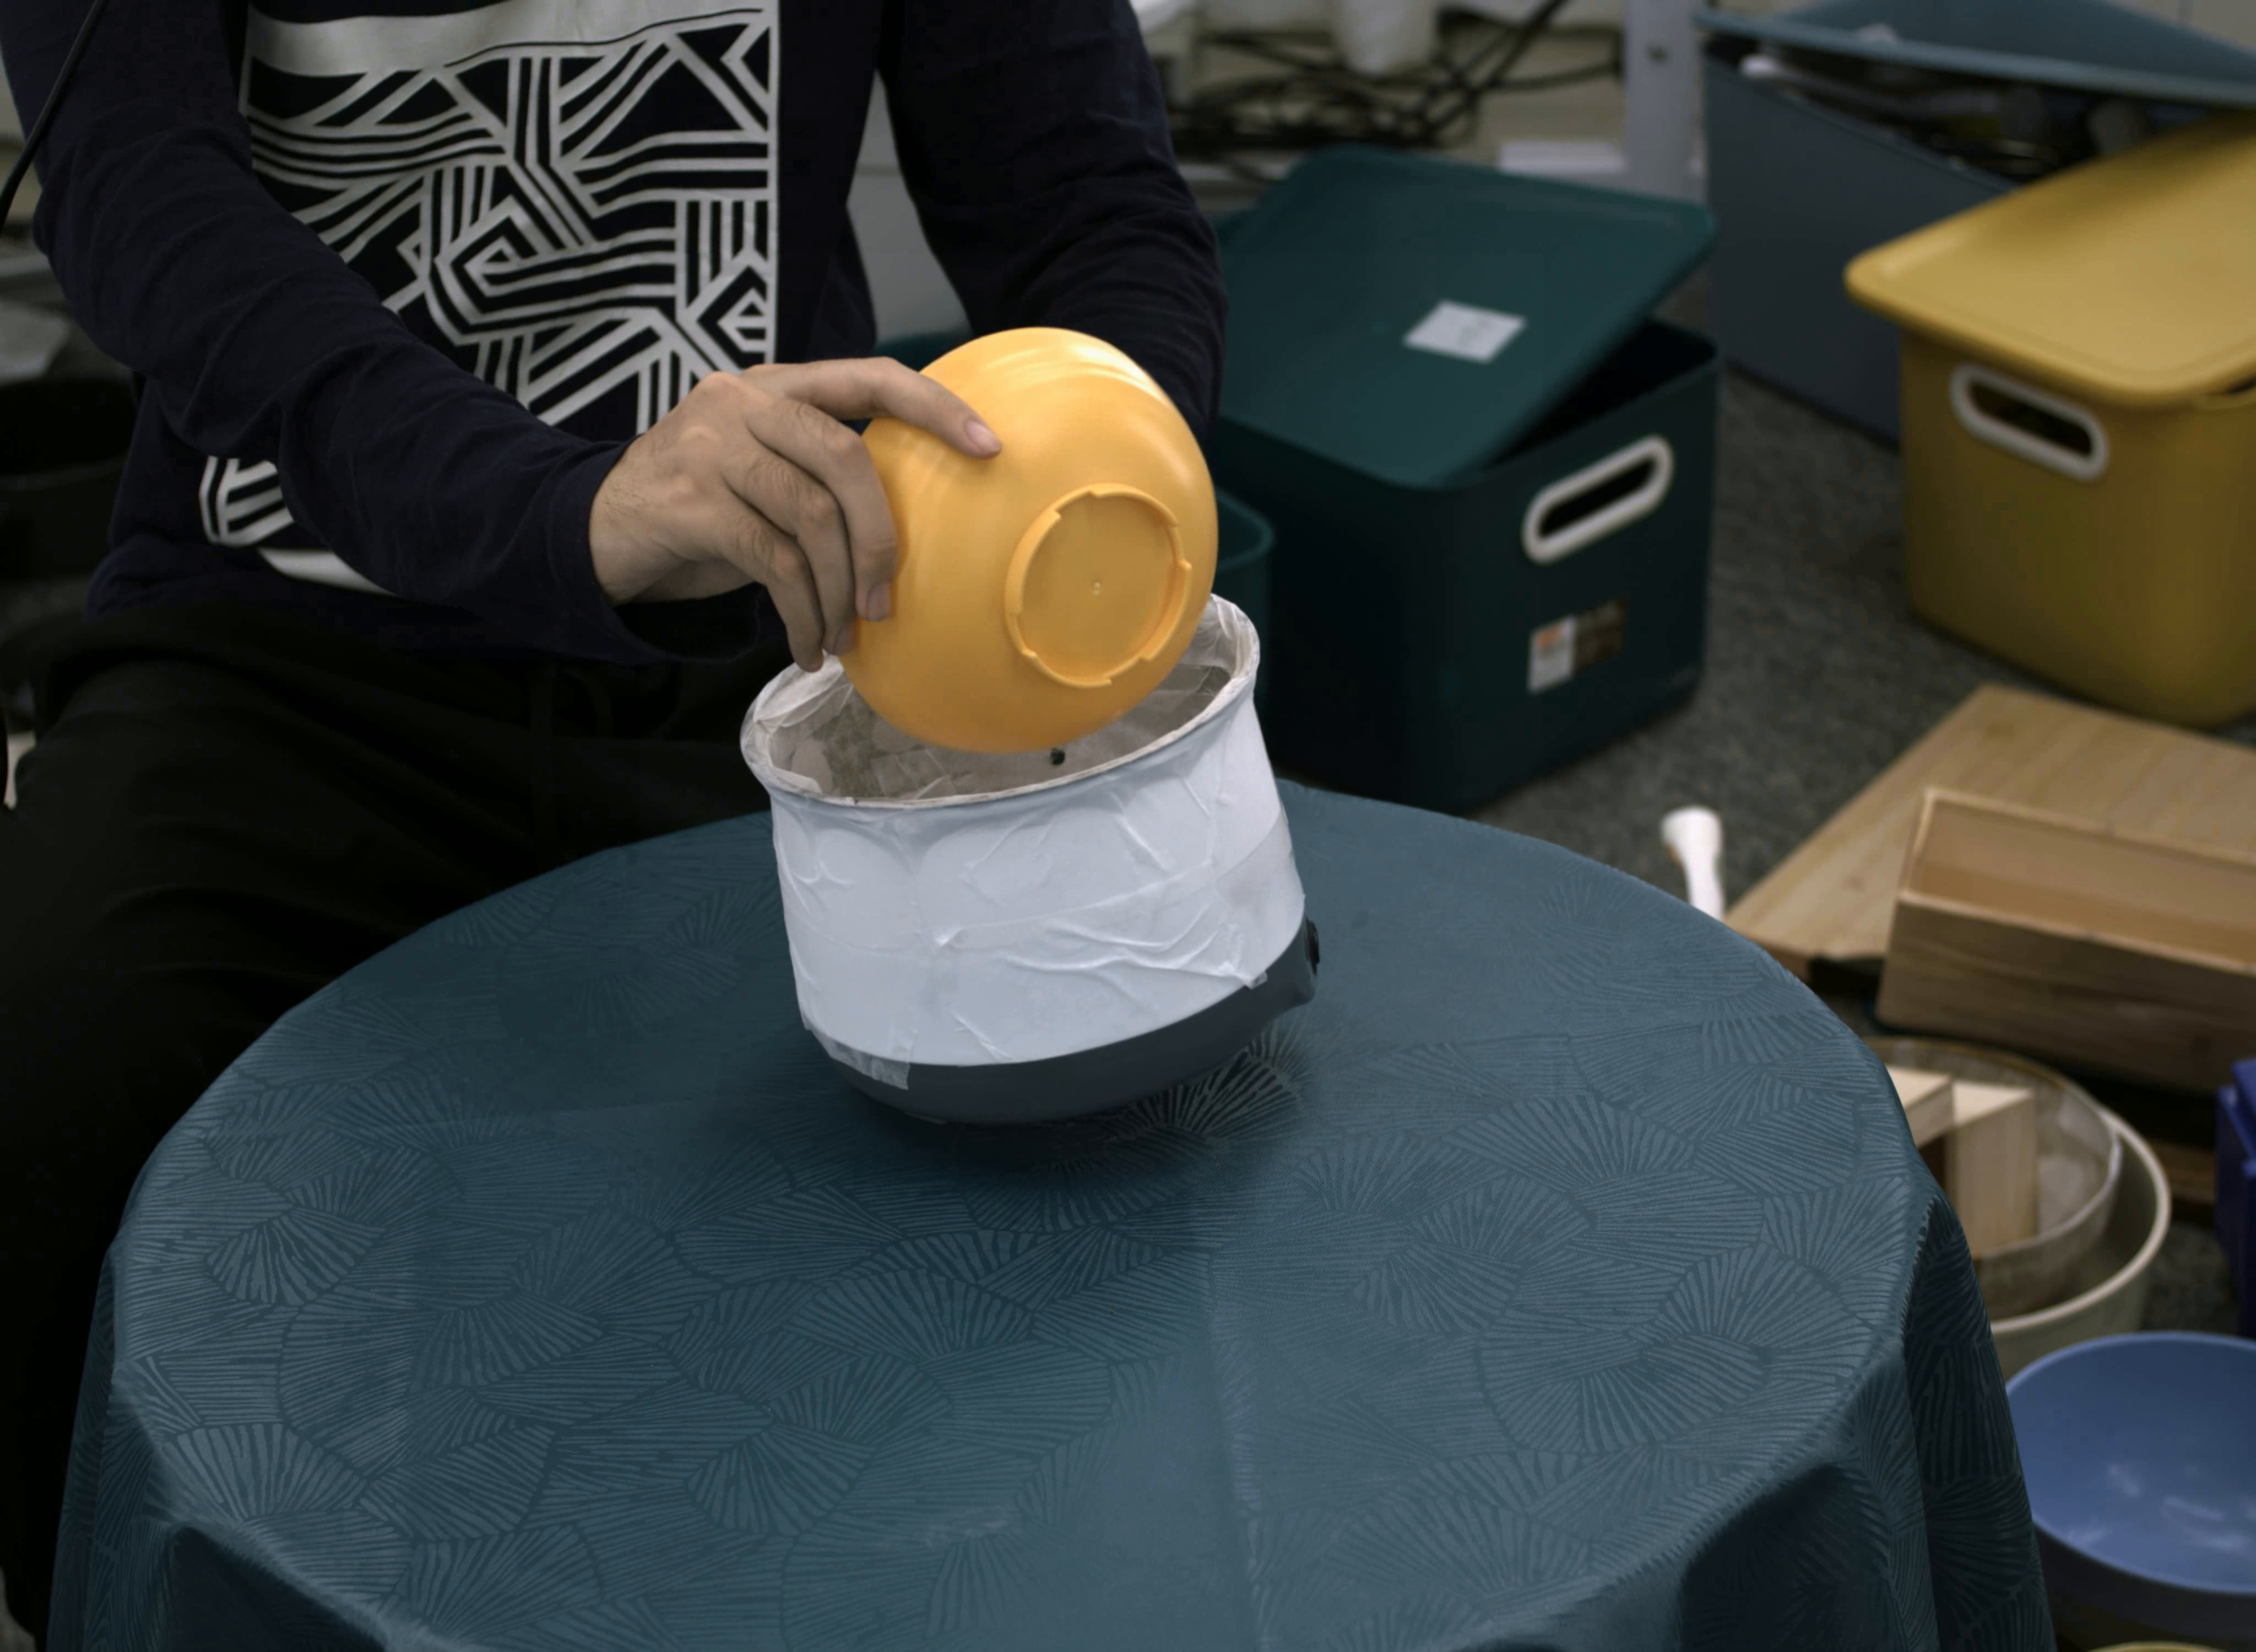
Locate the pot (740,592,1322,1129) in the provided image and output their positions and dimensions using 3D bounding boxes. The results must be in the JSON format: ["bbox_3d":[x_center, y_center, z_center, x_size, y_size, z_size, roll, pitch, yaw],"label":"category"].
[{"bbox_3d":[-0.031,0.001,1.925,0.178,0.135,0.237,-10,22,3],"label":"pot"}]

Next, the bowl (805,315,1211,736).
[{"bbox_3d":[-0.027,-0.087,1.819,0.146,0.144,0.060,-16,29,-24],"label":"bowl"}]
